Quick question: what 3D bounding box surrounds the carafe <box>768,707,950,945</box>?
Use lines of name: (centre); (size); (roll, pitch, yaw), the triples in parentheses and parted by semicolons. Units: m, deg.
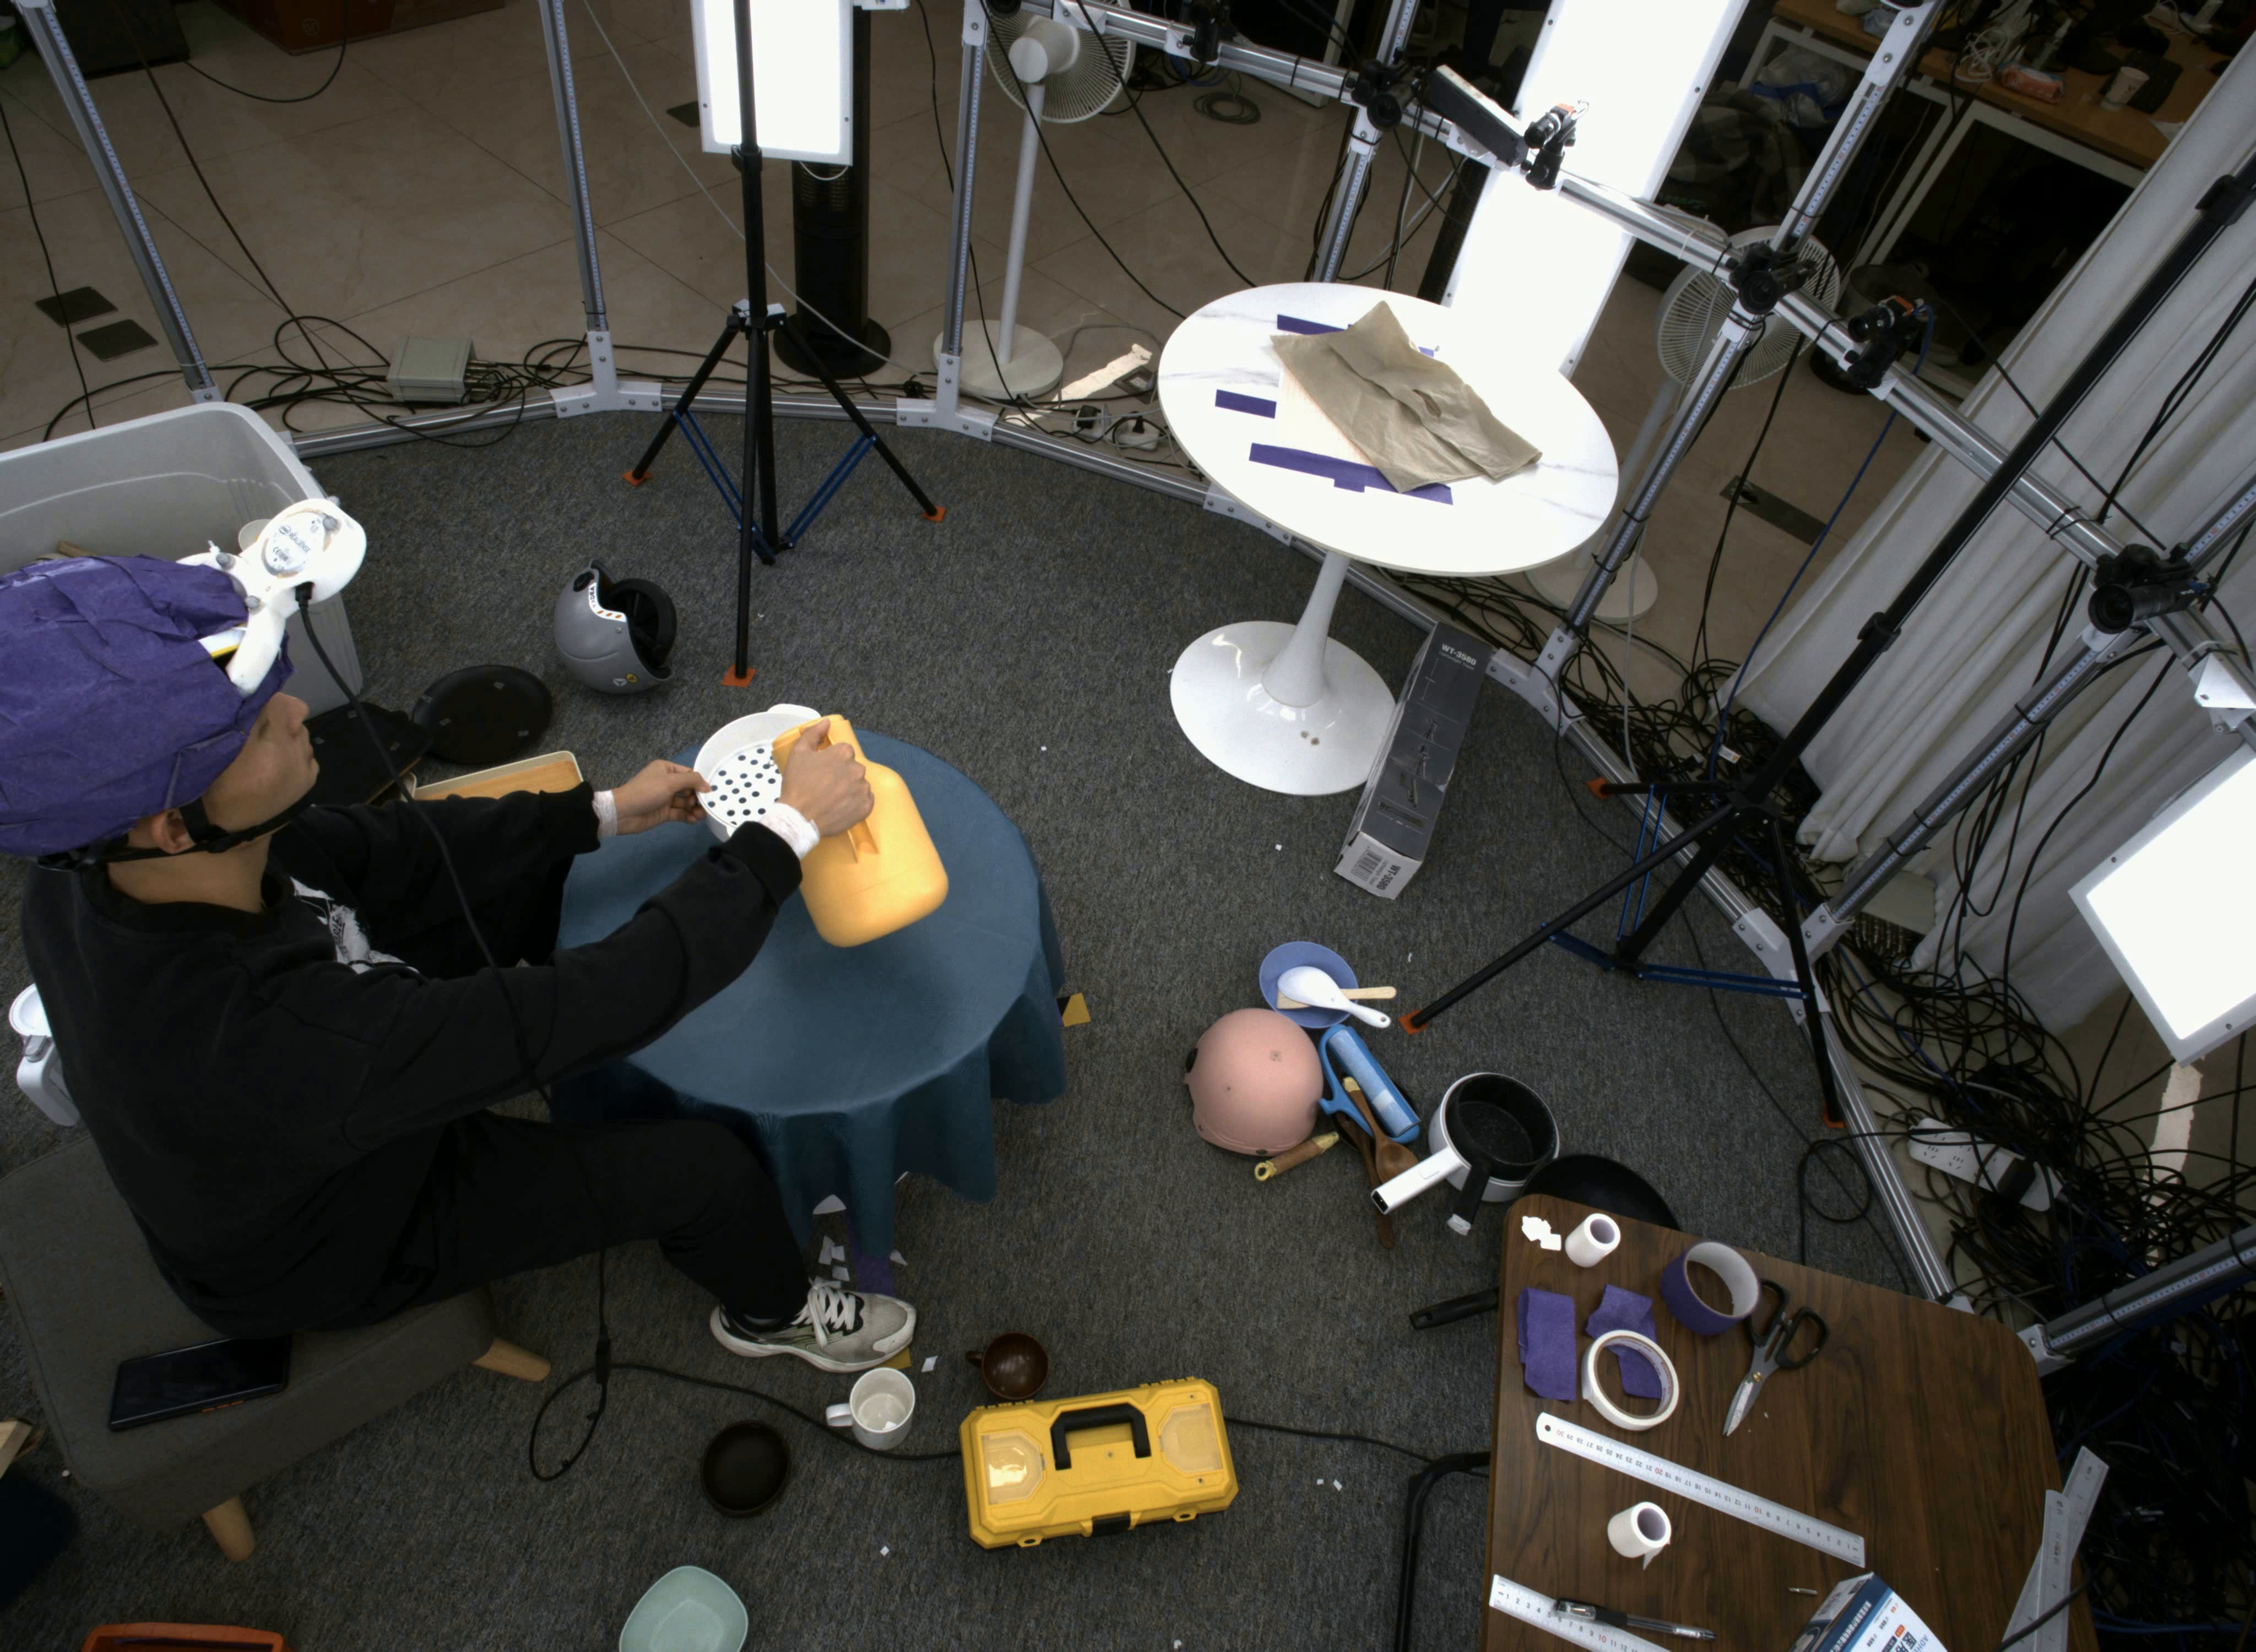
carafe: (-0.321, -0.005, 1.484); (0.163, 0.200, 0.264); (-27, 96, -12)

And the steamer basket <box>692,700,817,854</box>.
steamer basket: (-0.449, -0.057, 1.650); (0.201, 0.071, 0.227); (9, 52, -5)
